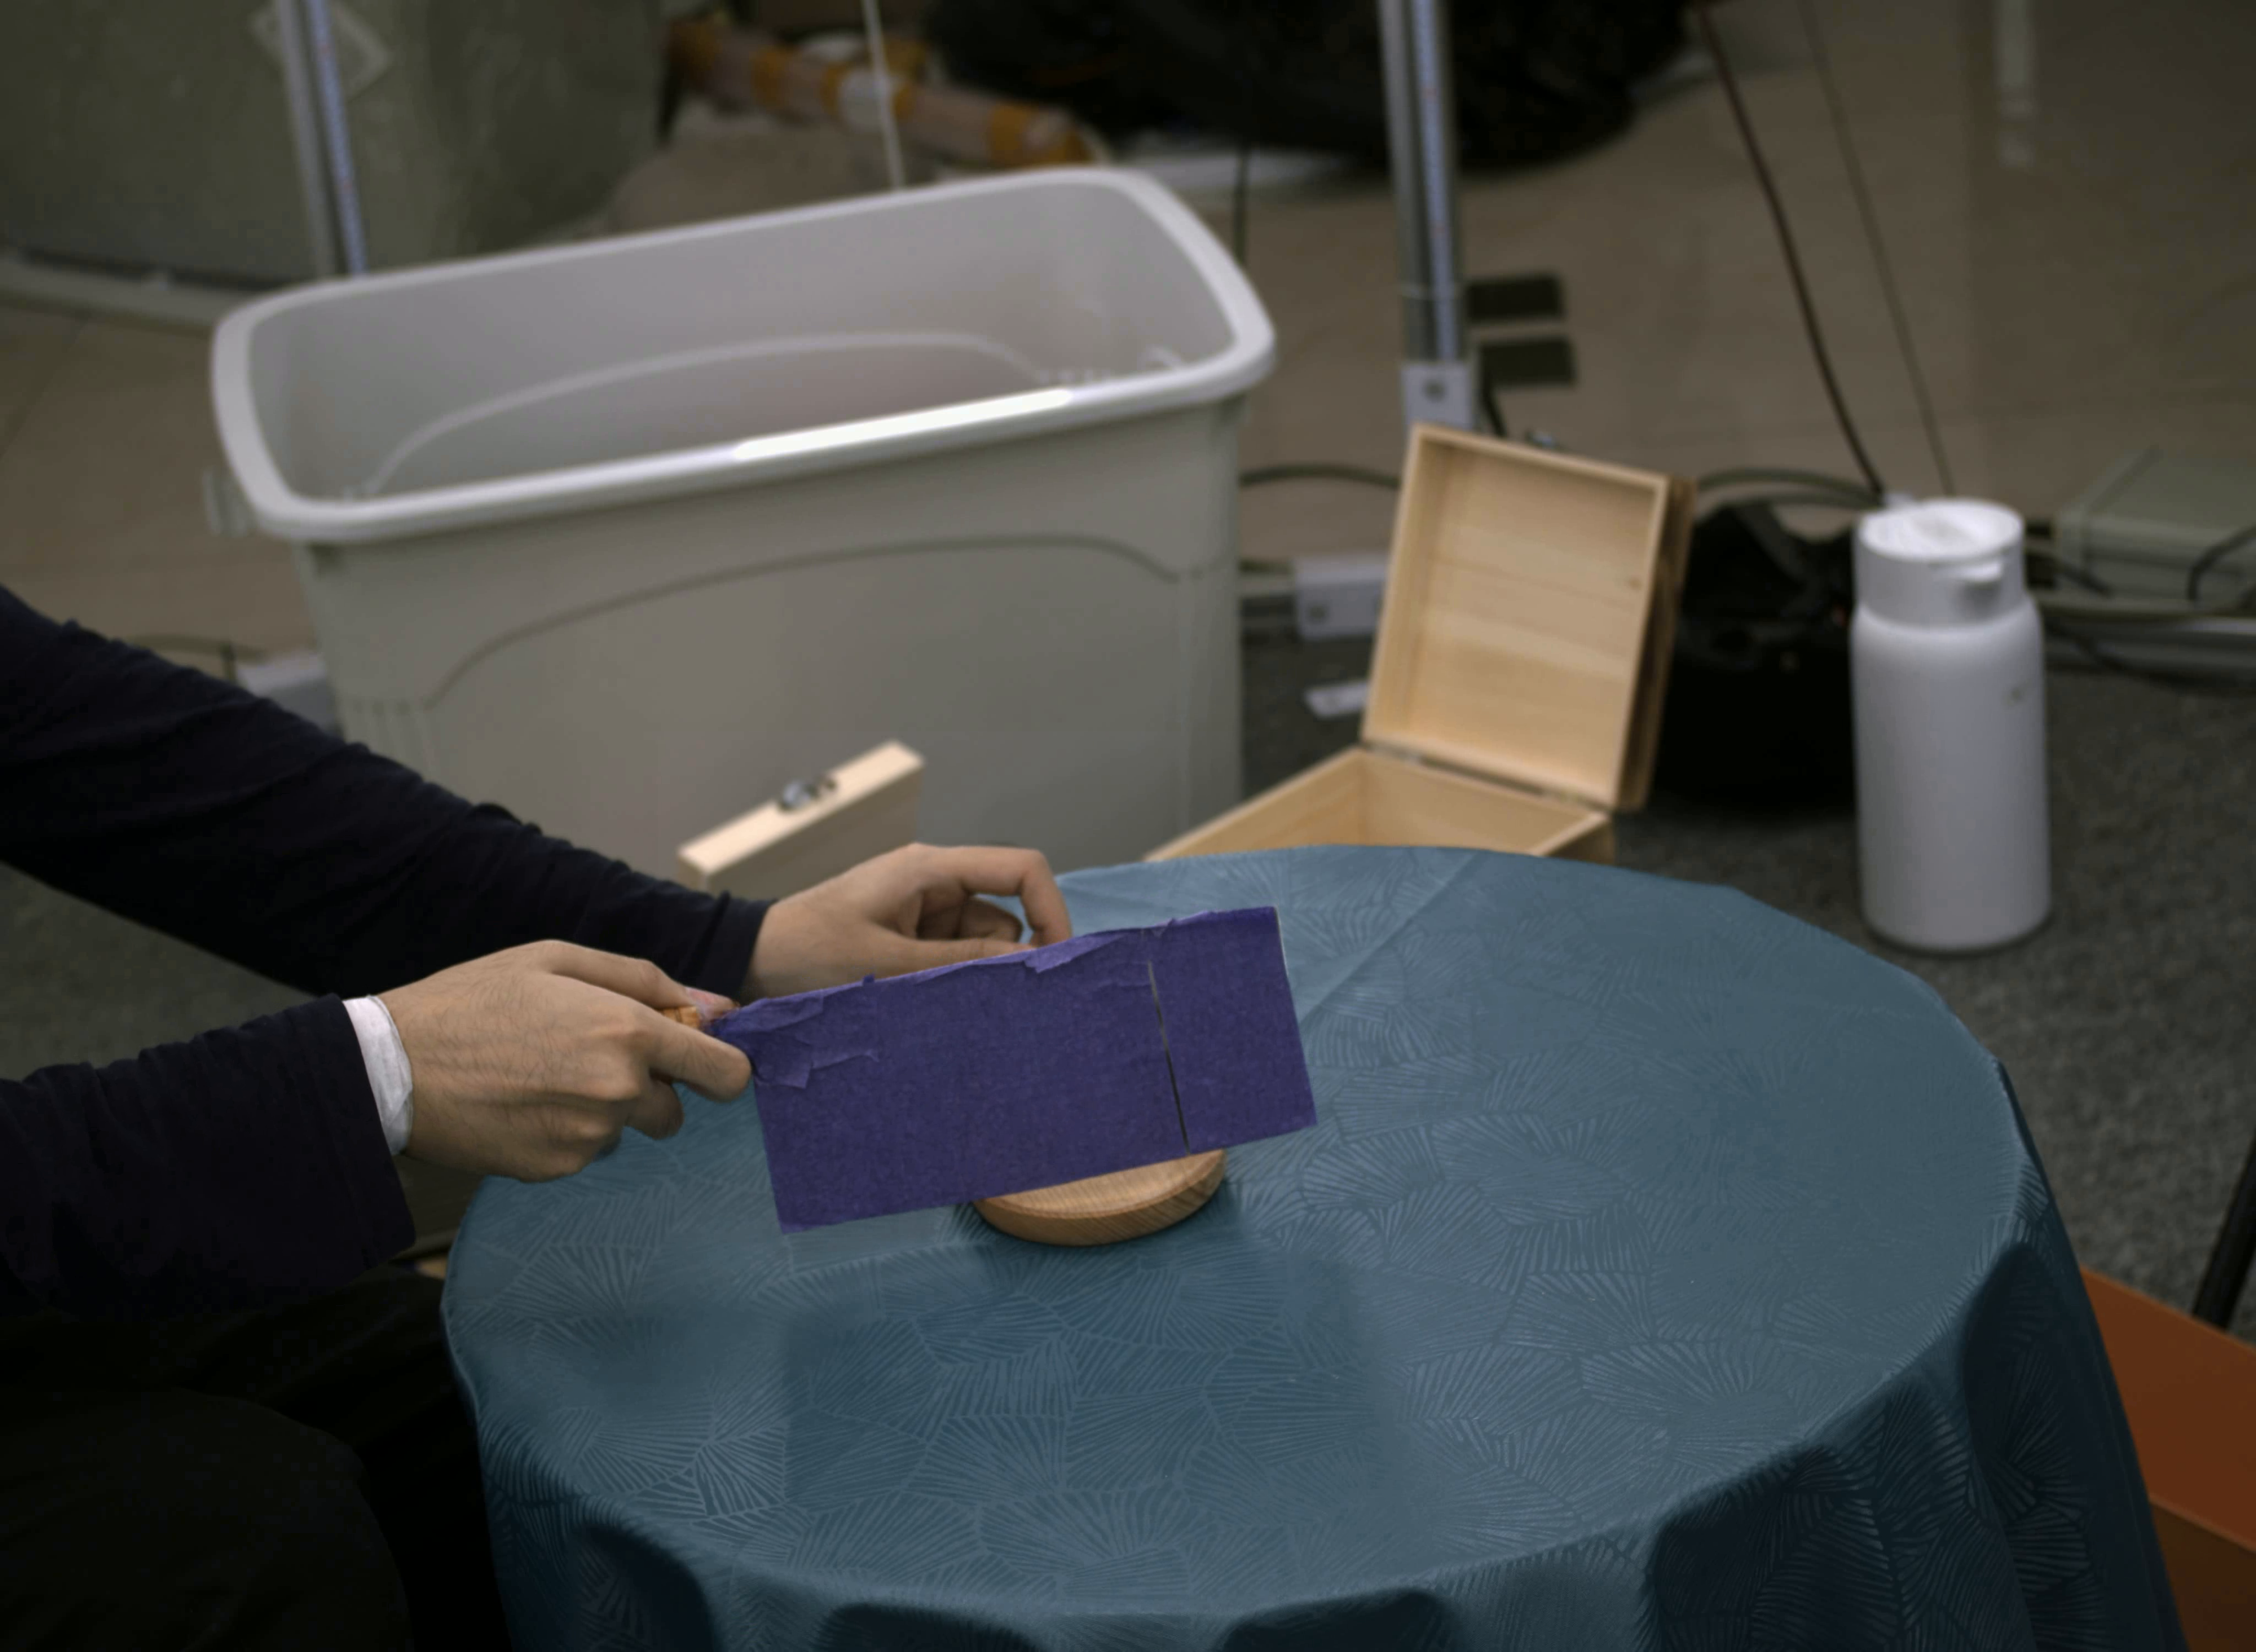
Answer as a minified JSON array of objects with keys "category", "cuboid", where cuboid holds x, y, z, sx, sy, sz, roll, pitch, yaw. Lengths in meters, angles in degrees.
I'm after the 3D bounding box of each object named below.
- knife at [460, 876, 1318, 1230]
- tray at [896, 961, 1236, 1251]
[{"category":"knife","cuboid":[-0.086,0.099,2.109,0.314,0.105,0.032,-11,11,-4]},{"category":"tray","cuboid":[-0.029,0.107,2.208,0.101,0.020,0.228,-15,28,-13]}]
